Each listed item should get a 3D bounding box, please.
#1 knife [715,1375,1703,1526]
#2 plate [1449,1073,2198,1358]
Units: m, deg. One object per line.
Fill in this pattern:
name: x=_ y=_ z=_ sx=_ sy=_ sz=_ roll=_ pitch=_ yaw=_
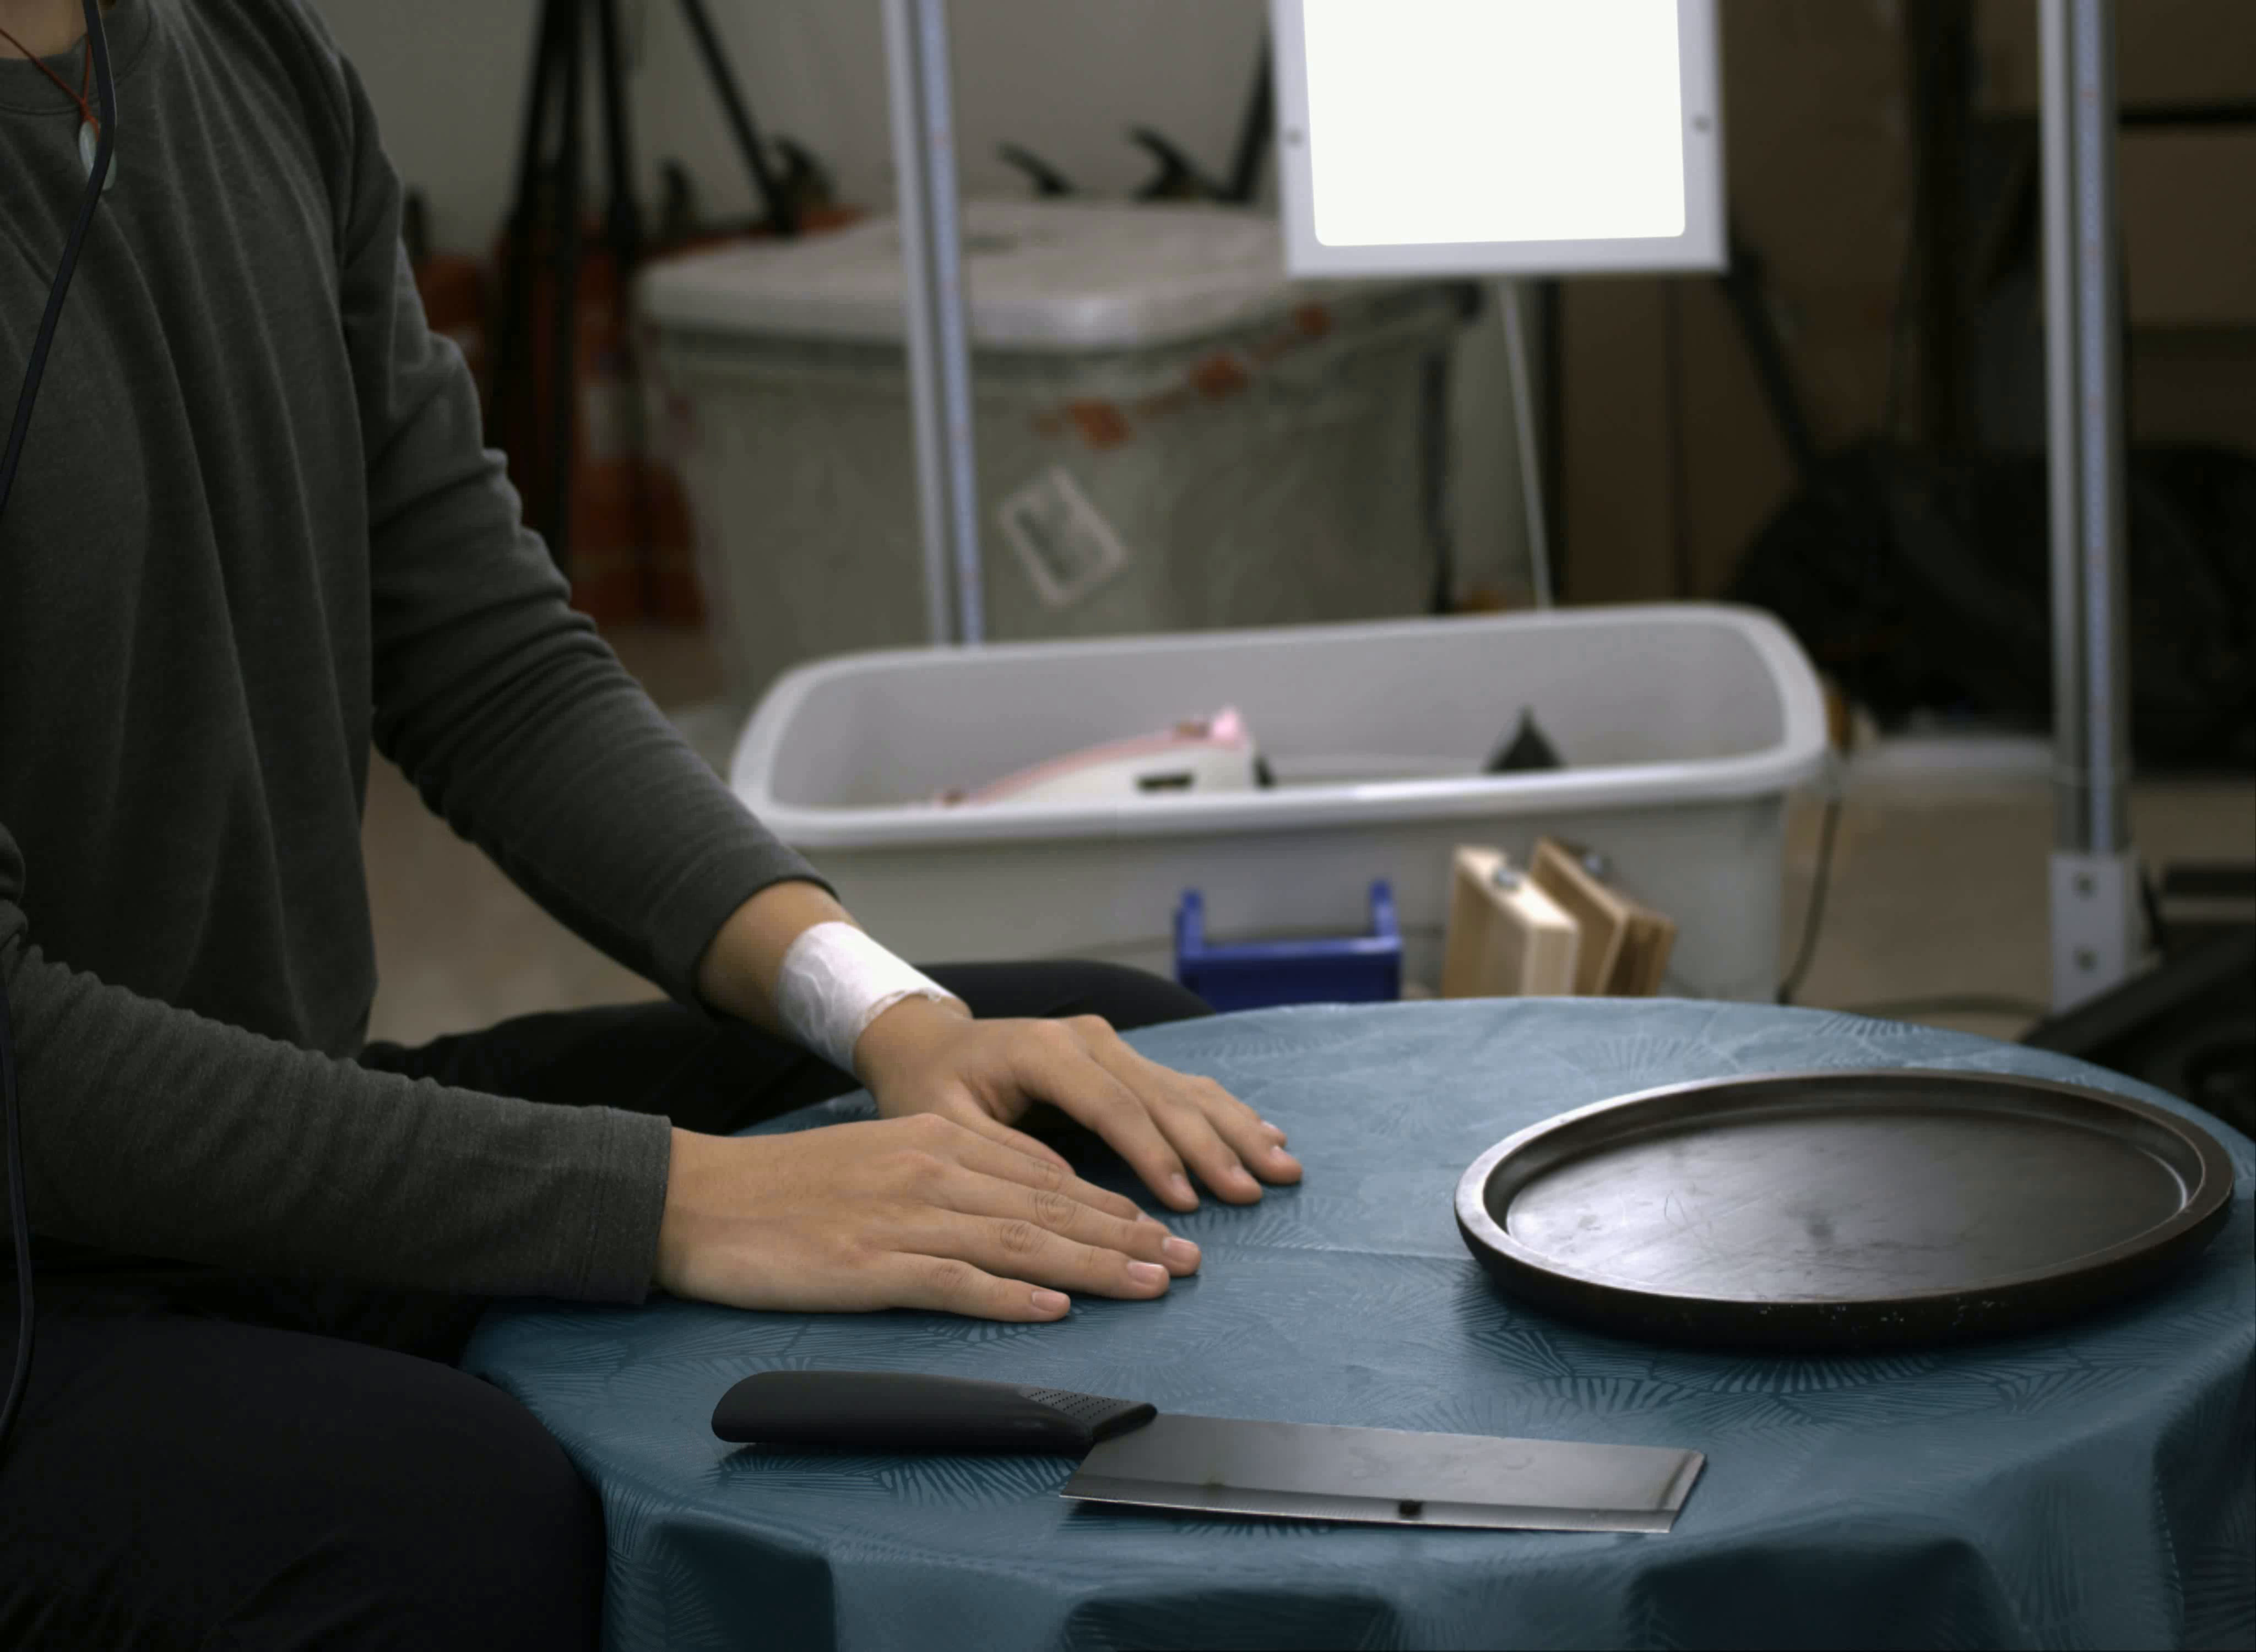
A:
knife: x=0.019 y=0.186 z=1.625 sx=0.307 sy=0.021 sz=0.079 roll=3 pitch=17 yaw=23
plate: x=0.231 y=0.123 z=1.781 sx=0.254 sy=0.029 sz=0.254 roll=-5 pitch=15 yaw=0
